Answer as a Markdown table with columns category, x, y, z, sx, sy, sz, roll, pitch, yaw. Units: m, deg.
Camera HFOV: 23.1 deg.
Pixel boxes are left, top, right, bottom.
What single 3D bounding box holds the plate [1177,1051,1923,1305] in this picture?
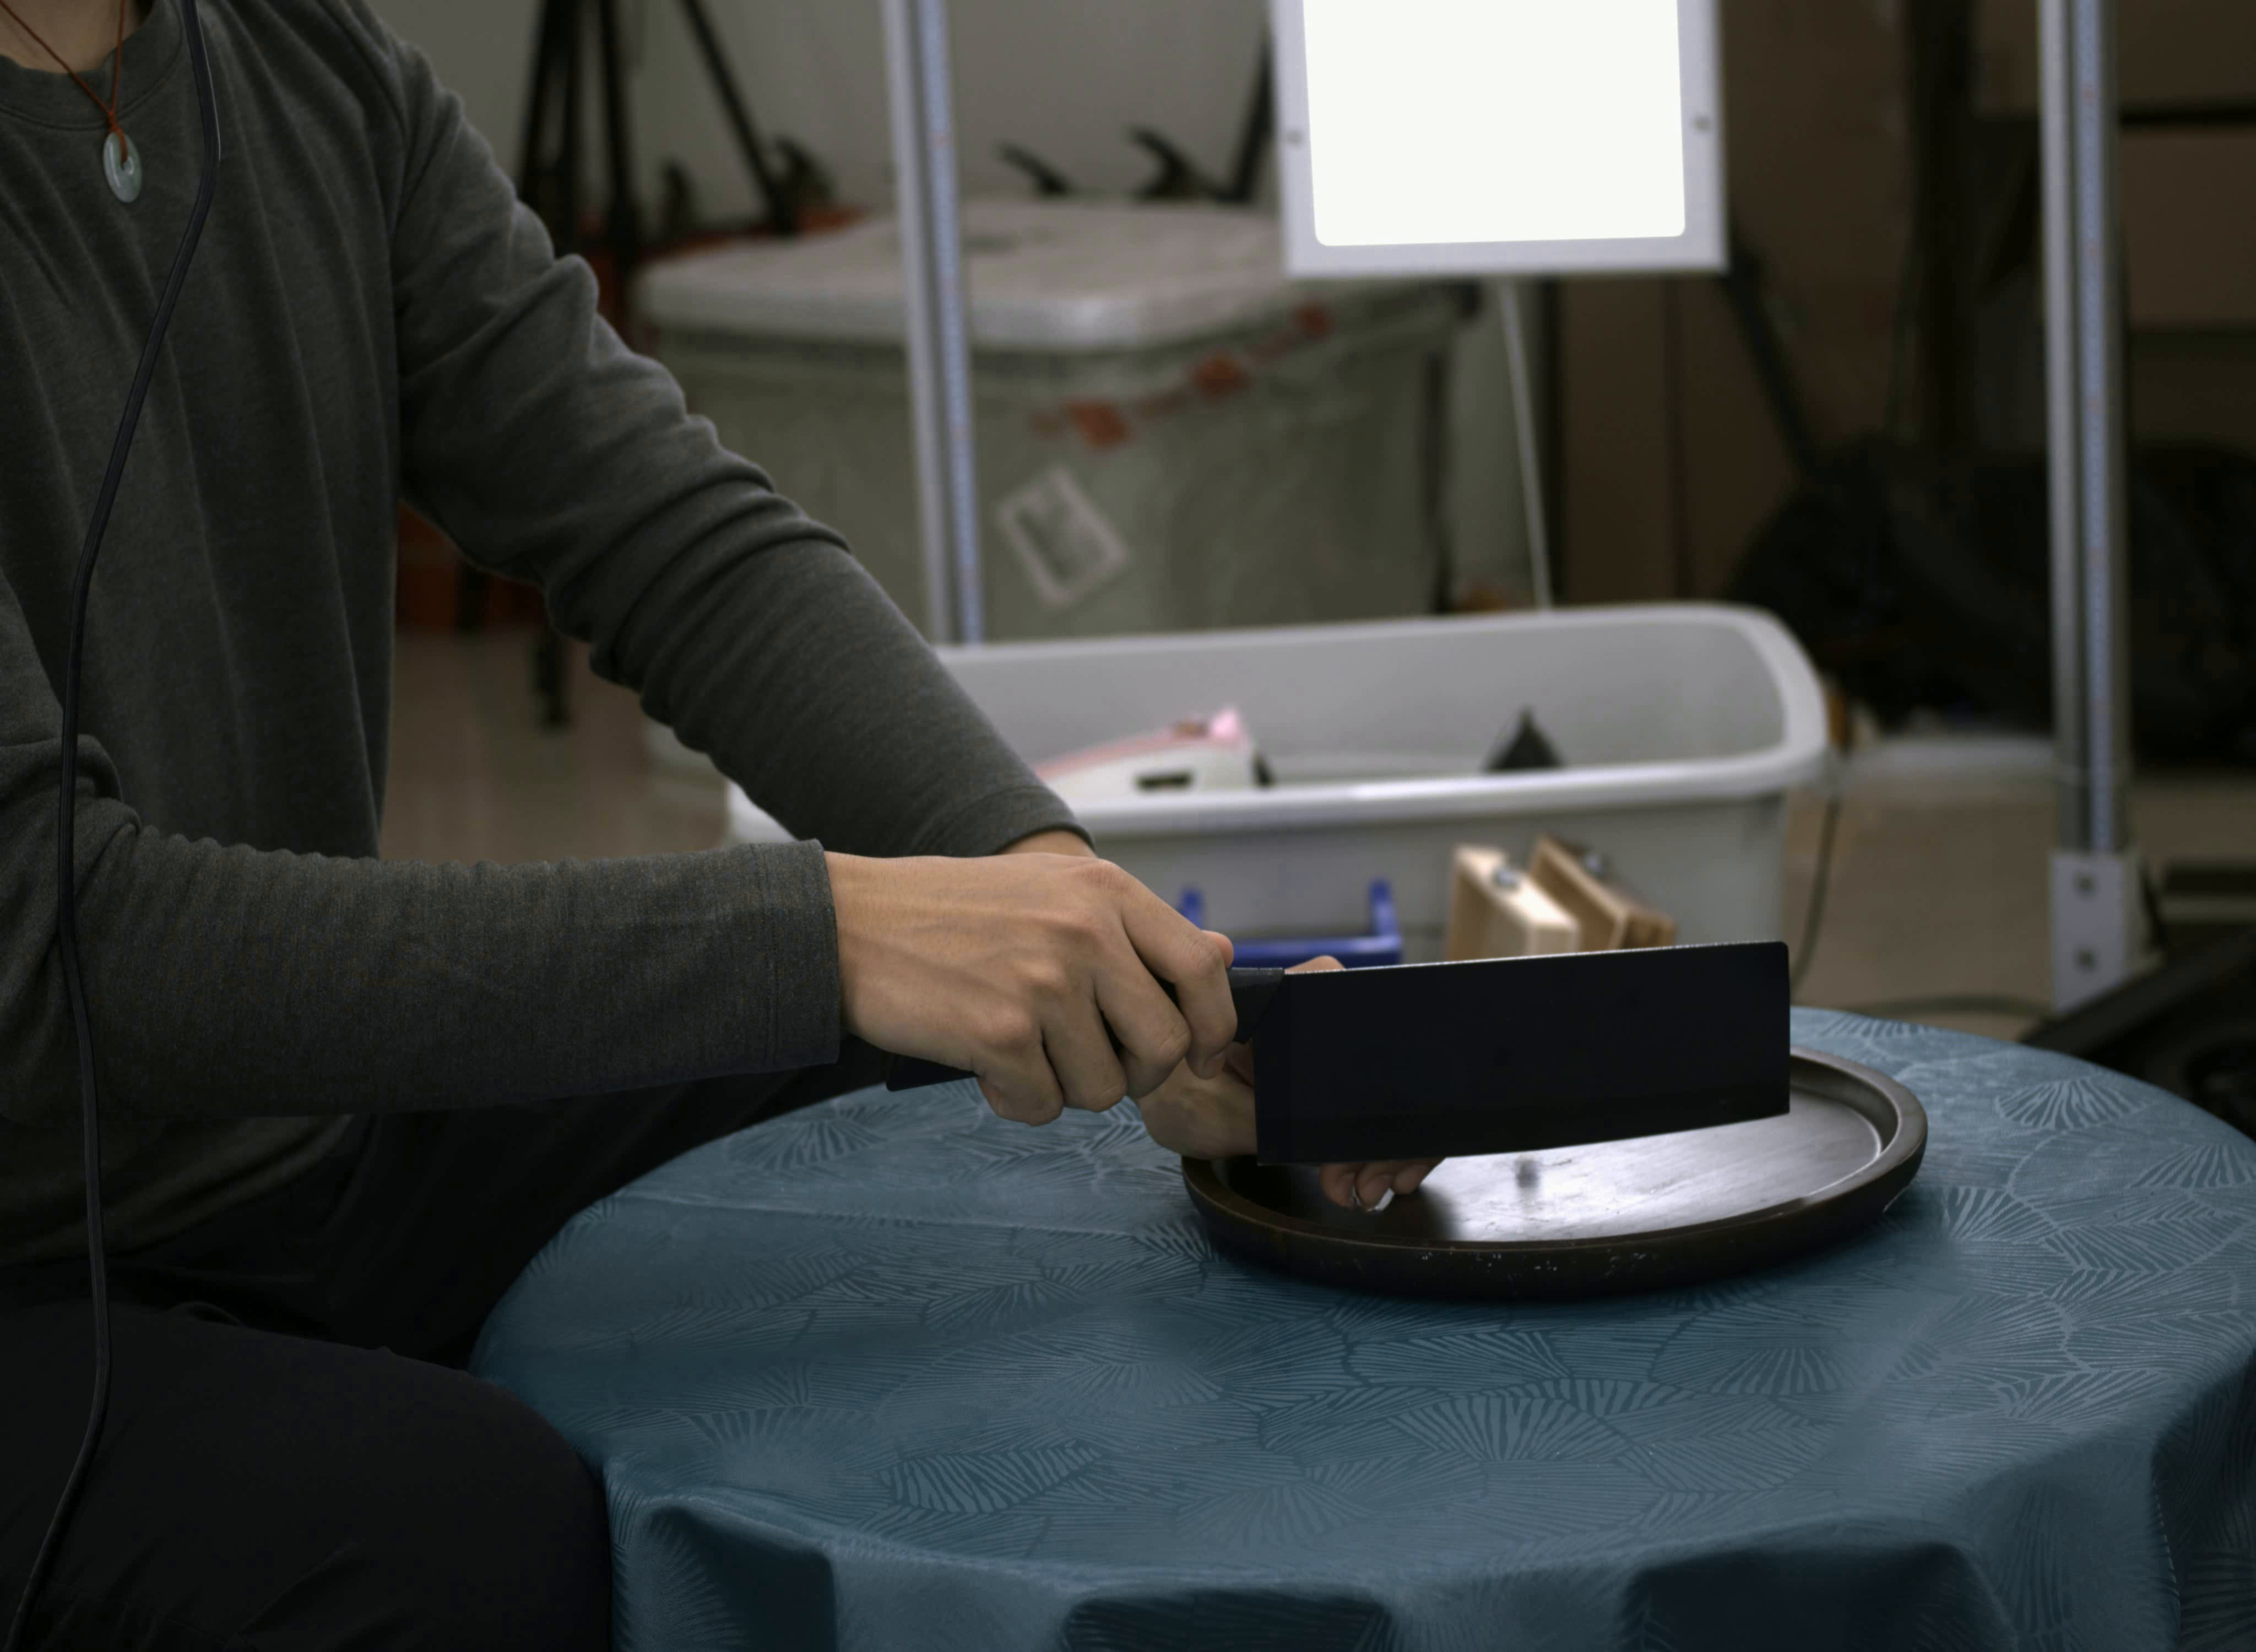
| category | x | y | z | sx | sy | sz | roll | pitch | yaw |
| --- | --- | --- | --- | --- | --- | --- | --- | --- | --- |
| plate | 0.143 | 0.113 | 1.856 | 0.254 | 0.029 | 0.254 | -5 | 15 | 0 |

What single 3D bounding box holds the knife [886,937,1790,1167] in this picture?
| category | x | y | z | sx | sy | sz | roll | pitch | yaw |
| --- | --- | --- | --- | --- | --- | --- | --- | --- | --- |
| knife | 0.071 | 0.074 | 1.805 | 0.300 | 0.081 | 0.021 | 1 | 12 | -4 |
